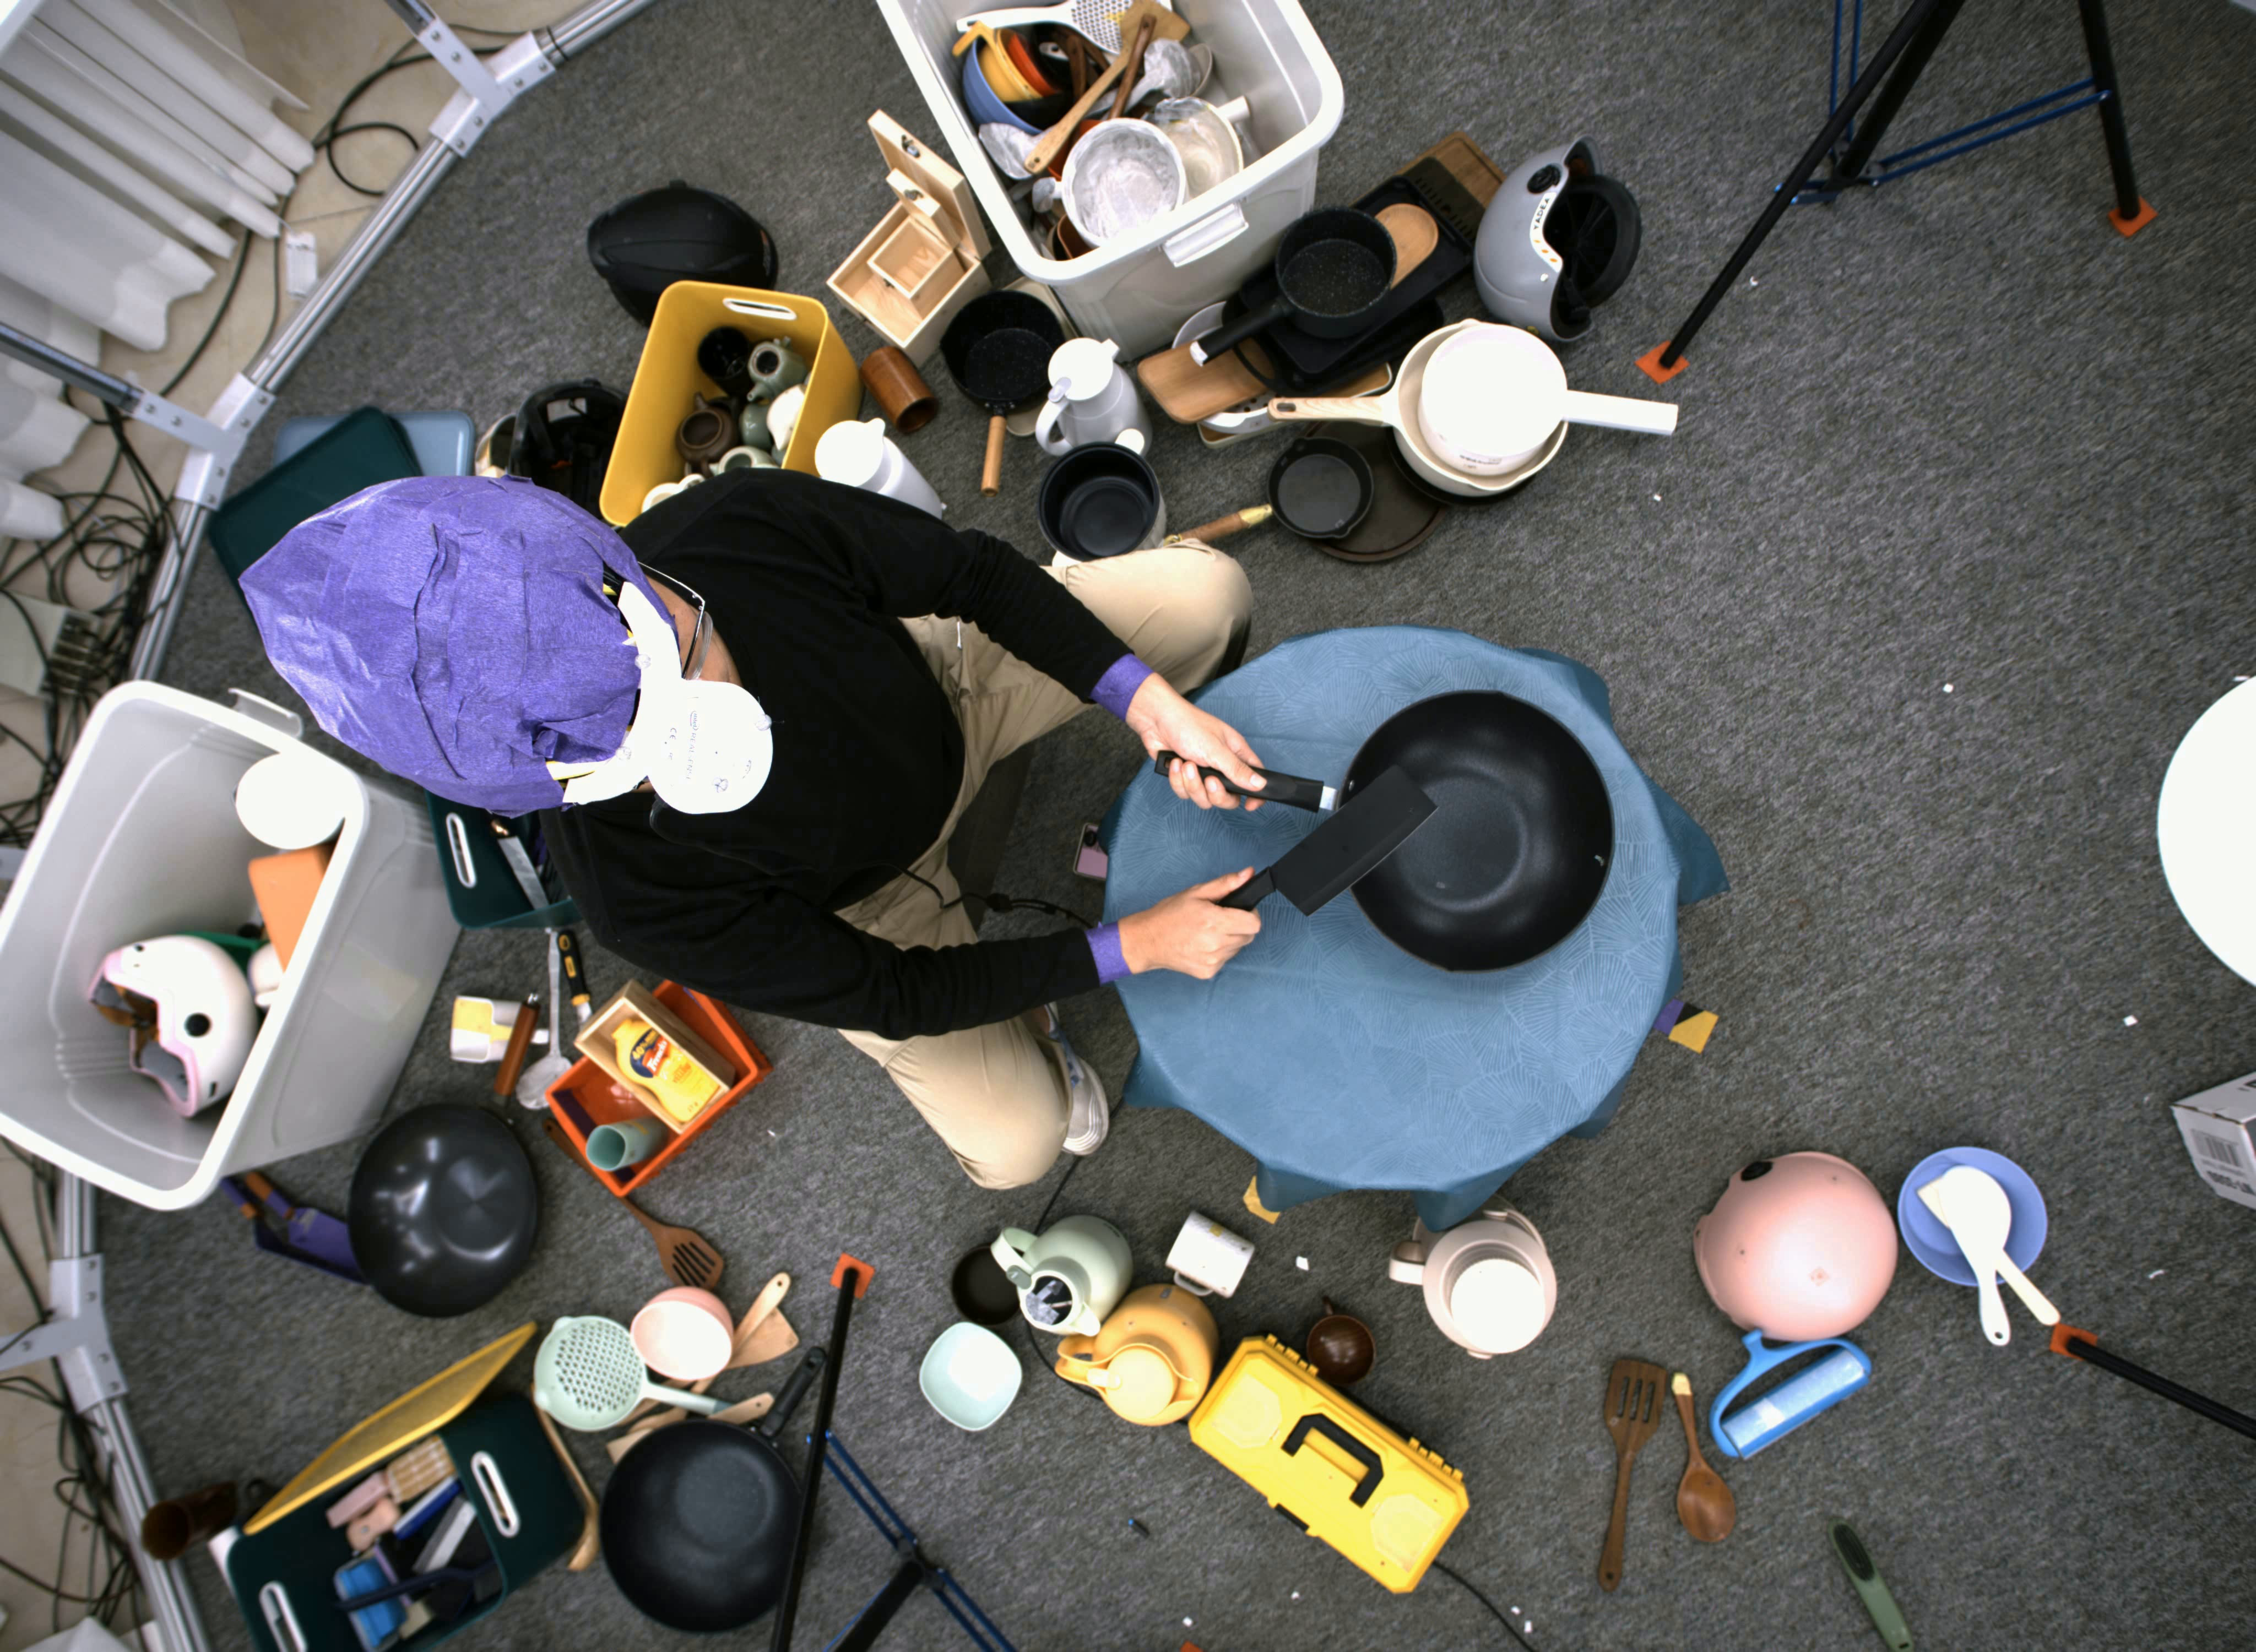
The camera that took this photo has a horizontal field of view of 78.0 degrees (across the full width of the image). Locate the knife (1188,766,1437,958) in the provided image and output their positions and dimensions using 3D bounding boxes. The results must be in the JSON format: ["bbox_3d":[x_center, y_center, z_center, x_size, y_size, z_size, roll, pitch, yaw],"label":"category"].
[{"bbox_3d":[0.173,0.047,1.369,0.308,0.020,0.081,-37,102,30],"label":"knife"}]

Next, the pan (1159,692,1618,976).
[{"bbox_3d":[0.258,-0.012,1.405,0.464,0.087,0.287,13,87,4],"label":"pan"}]
